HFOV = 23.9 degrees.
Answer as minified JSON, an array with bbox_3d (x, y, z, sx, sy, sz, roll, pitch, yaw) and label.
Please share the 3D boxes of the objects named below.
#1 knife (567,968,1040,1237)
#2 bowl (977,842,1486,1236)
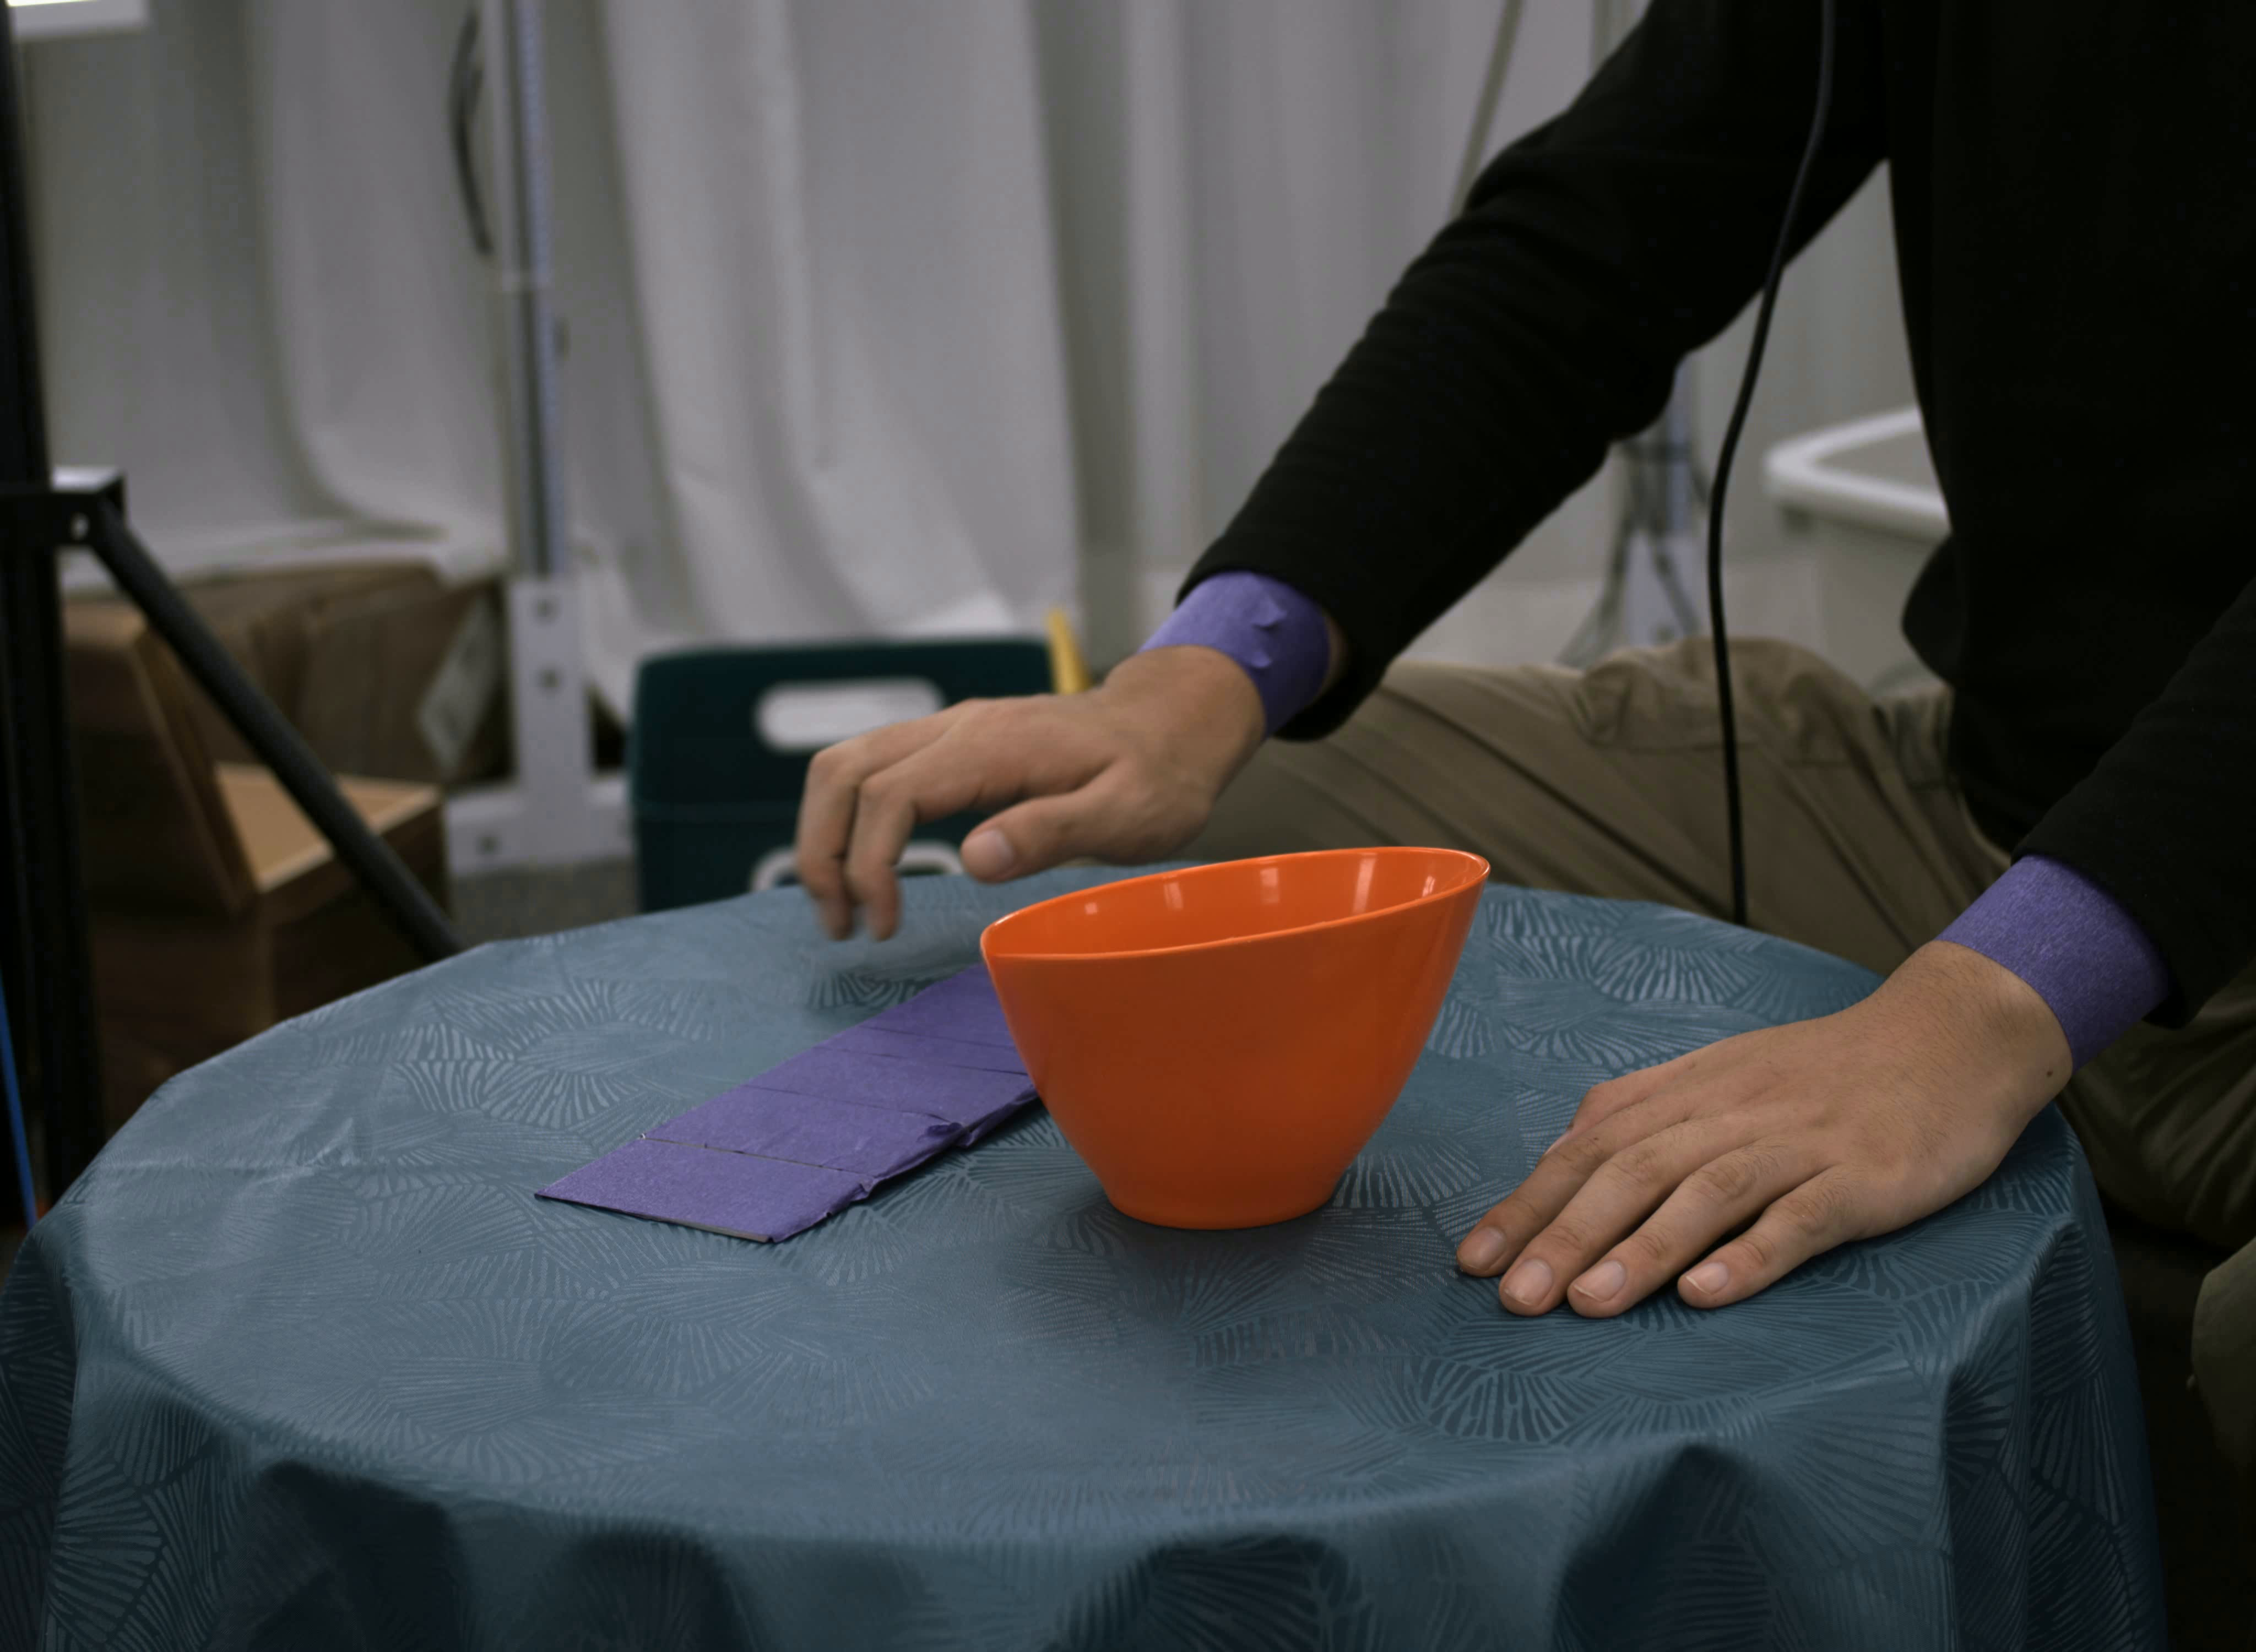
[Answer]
[{"bbox_3d":[-0.050,0.066,1.663,0.106,0.032,0.309,9,20,34],"label":"knife"},{"bbox_3d":[0.031,0.061,1.529,0.147,0.104,0.149,-4,16,0],"label":"bowl"}]
